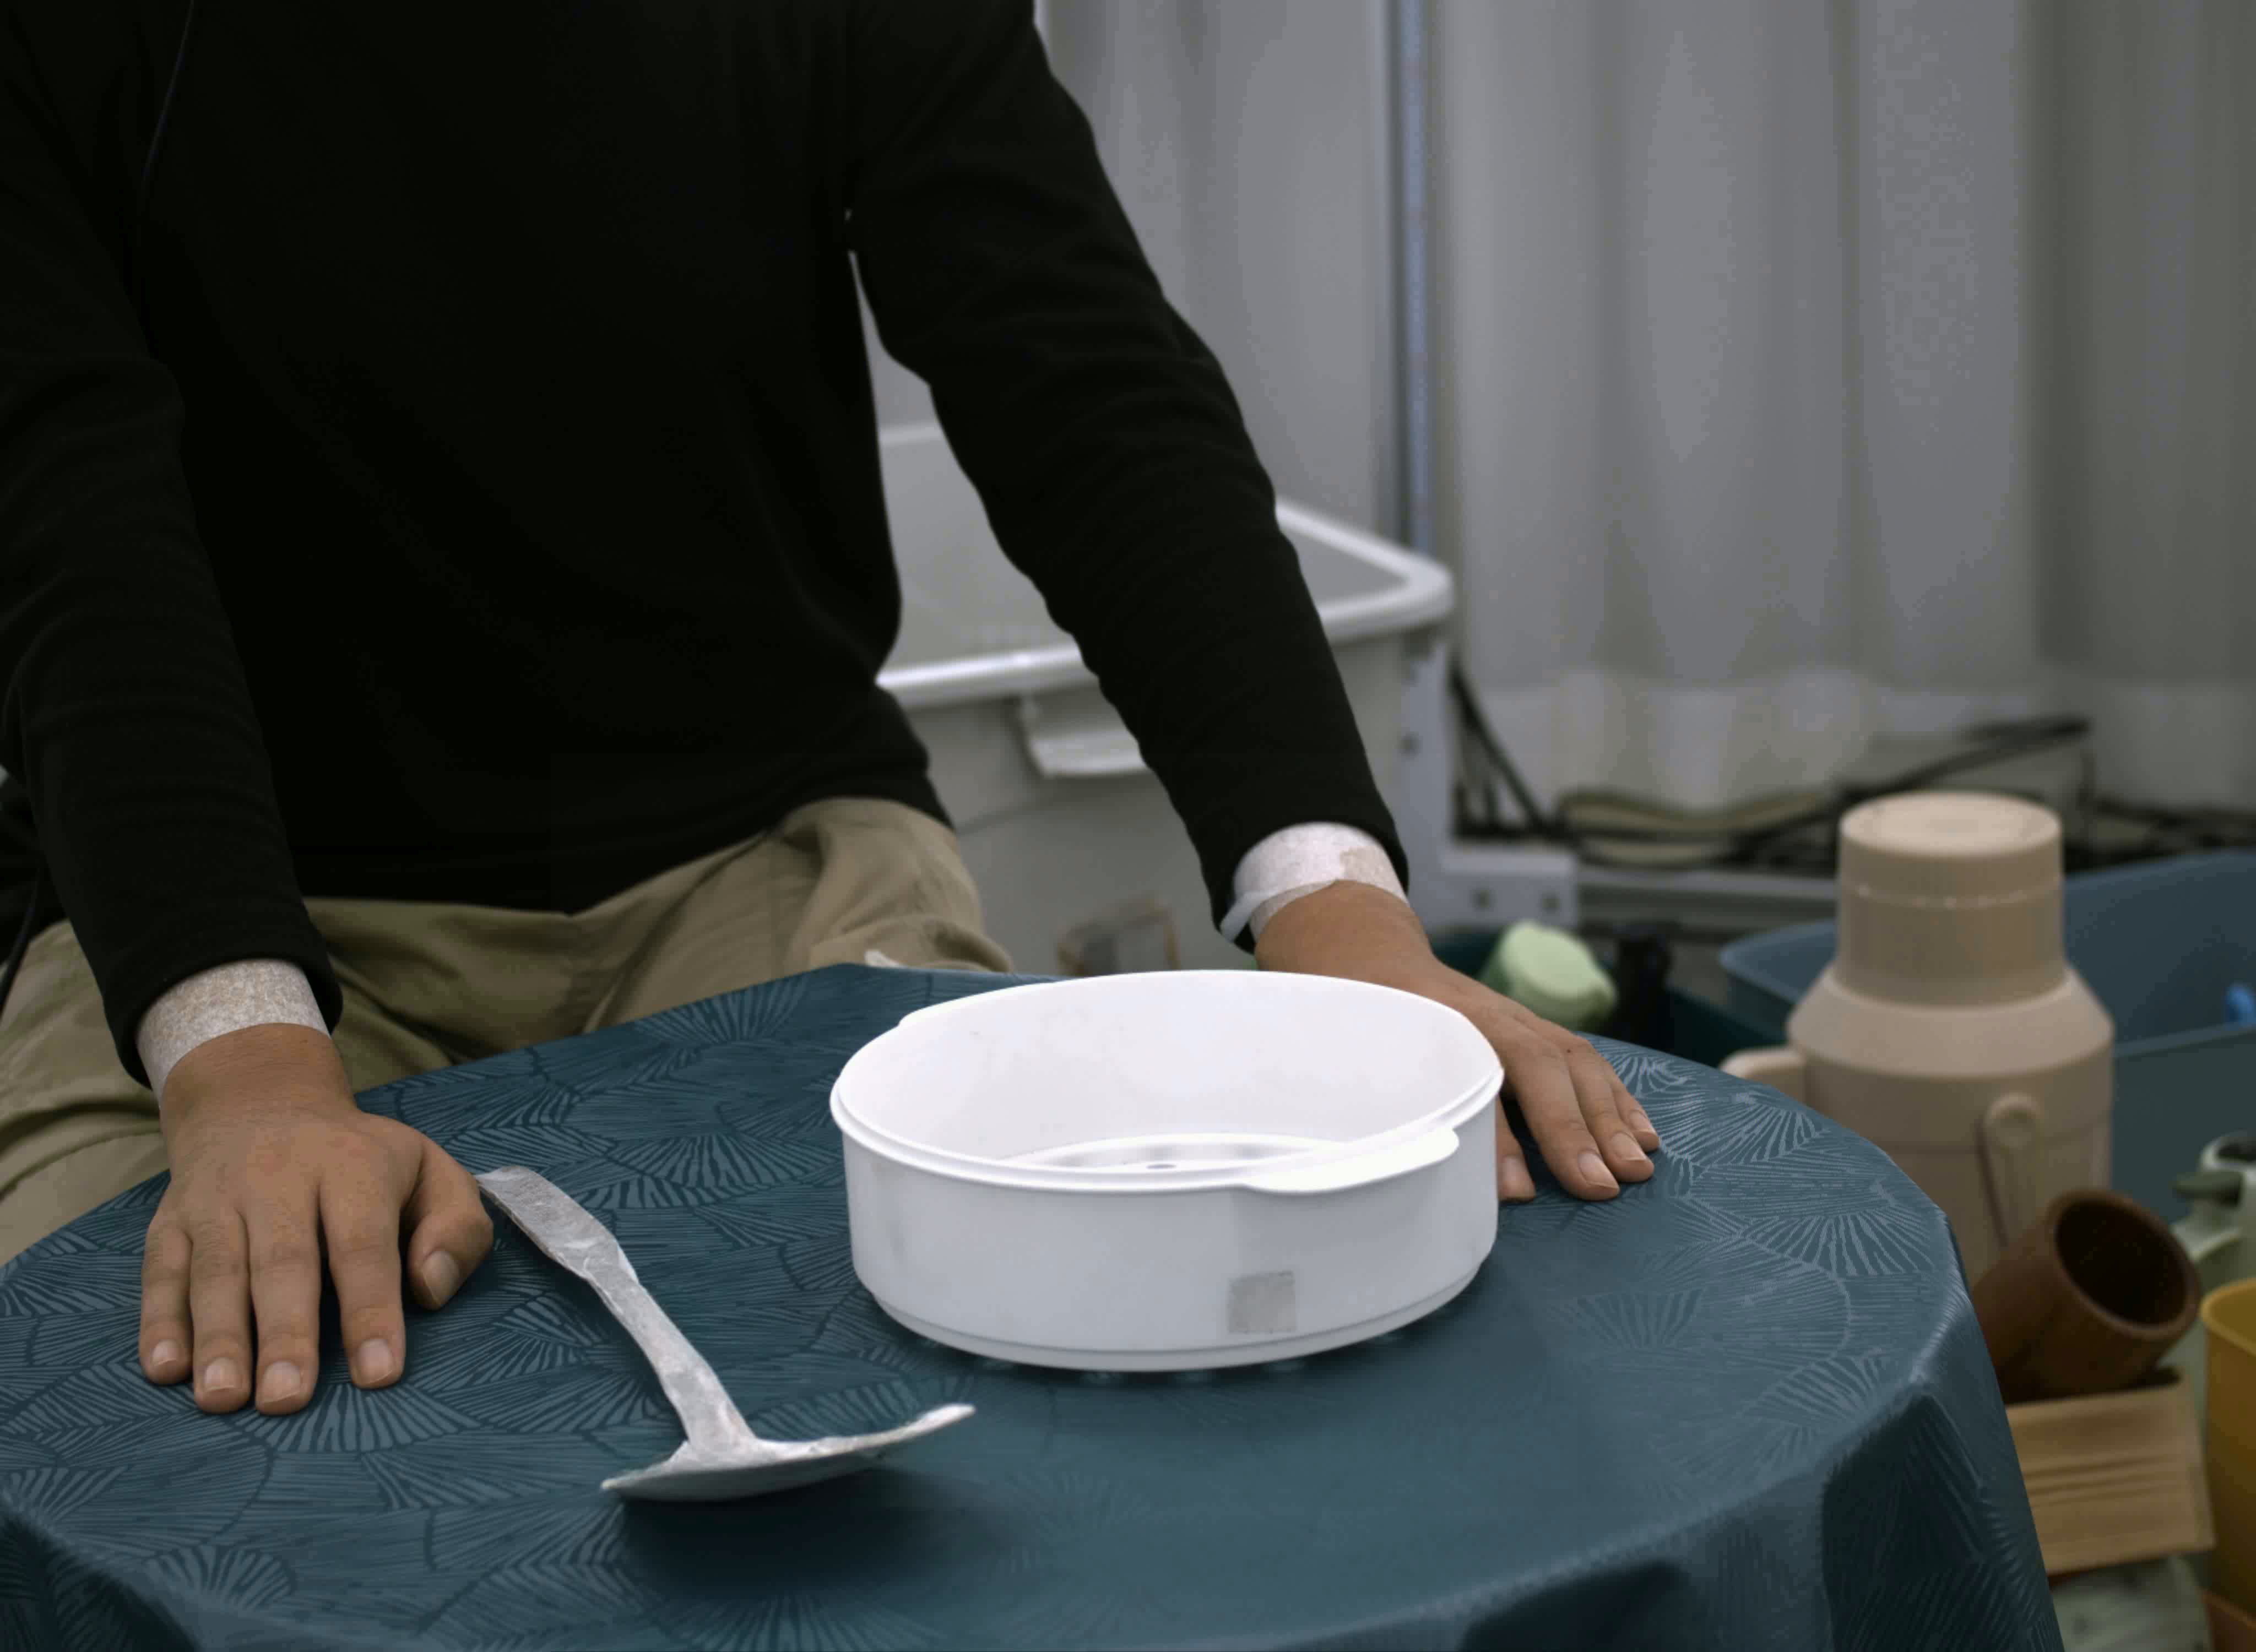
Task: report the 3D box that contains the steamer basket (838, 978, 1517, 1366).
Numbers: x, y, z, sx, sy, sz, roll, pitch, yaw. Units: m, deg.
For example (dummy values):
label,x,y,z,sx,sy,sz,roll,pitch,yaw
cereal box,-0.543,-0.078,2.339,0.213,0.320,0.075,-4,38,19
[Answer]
label,x,y,z,sx,sy,sz,roll,pitch,yaw
steamer basket,0.016,0.102,1.622,0.201,0.069,0.232,-11,16,-30

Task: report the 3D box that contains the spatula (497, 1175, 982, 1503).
label,x,y,z,sx,sy,sz,roll,pitch,yaw
spatula,-0.137,0.138,1.579,0.098,0.044,0.368,-10,16,-18
